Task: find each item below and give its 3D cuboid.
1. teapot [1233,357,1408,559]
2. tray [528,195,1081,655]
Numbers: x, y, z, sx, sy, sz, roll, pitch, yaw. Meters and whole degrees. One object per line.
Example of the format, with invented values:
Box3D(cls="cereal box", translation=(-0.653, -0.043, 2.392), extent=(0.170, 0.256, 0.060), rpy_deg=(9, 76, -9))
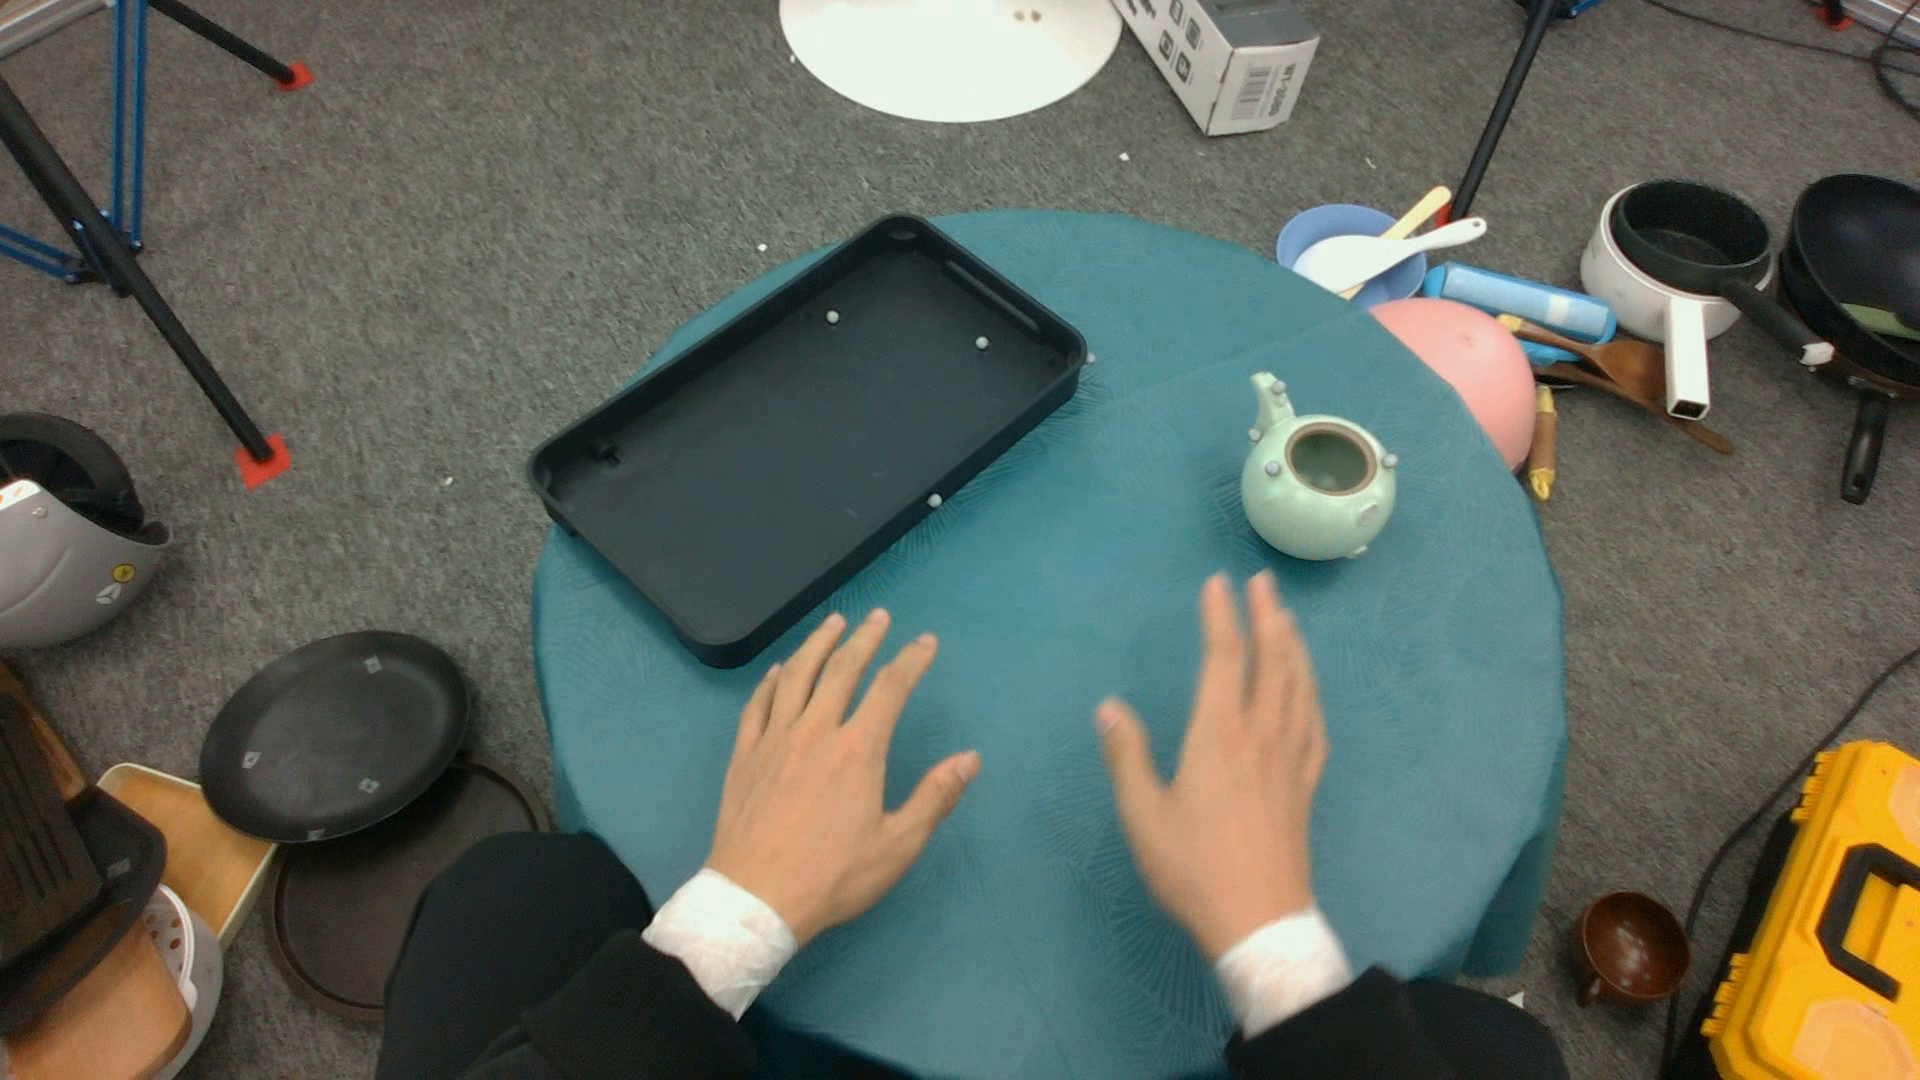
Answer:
Box3D(cls="teapot", translation=(0.206, -0.040, 0.811), extent=(0.088, 0.074, 0.144), rpy_deg=(-25, 59, -17))
Box3D(cls="tray", translation=(-0.087, -0.083, 0.848), extent=(0.184, 0.037, 0.319), rpy_deg=(37, 63, 20))
